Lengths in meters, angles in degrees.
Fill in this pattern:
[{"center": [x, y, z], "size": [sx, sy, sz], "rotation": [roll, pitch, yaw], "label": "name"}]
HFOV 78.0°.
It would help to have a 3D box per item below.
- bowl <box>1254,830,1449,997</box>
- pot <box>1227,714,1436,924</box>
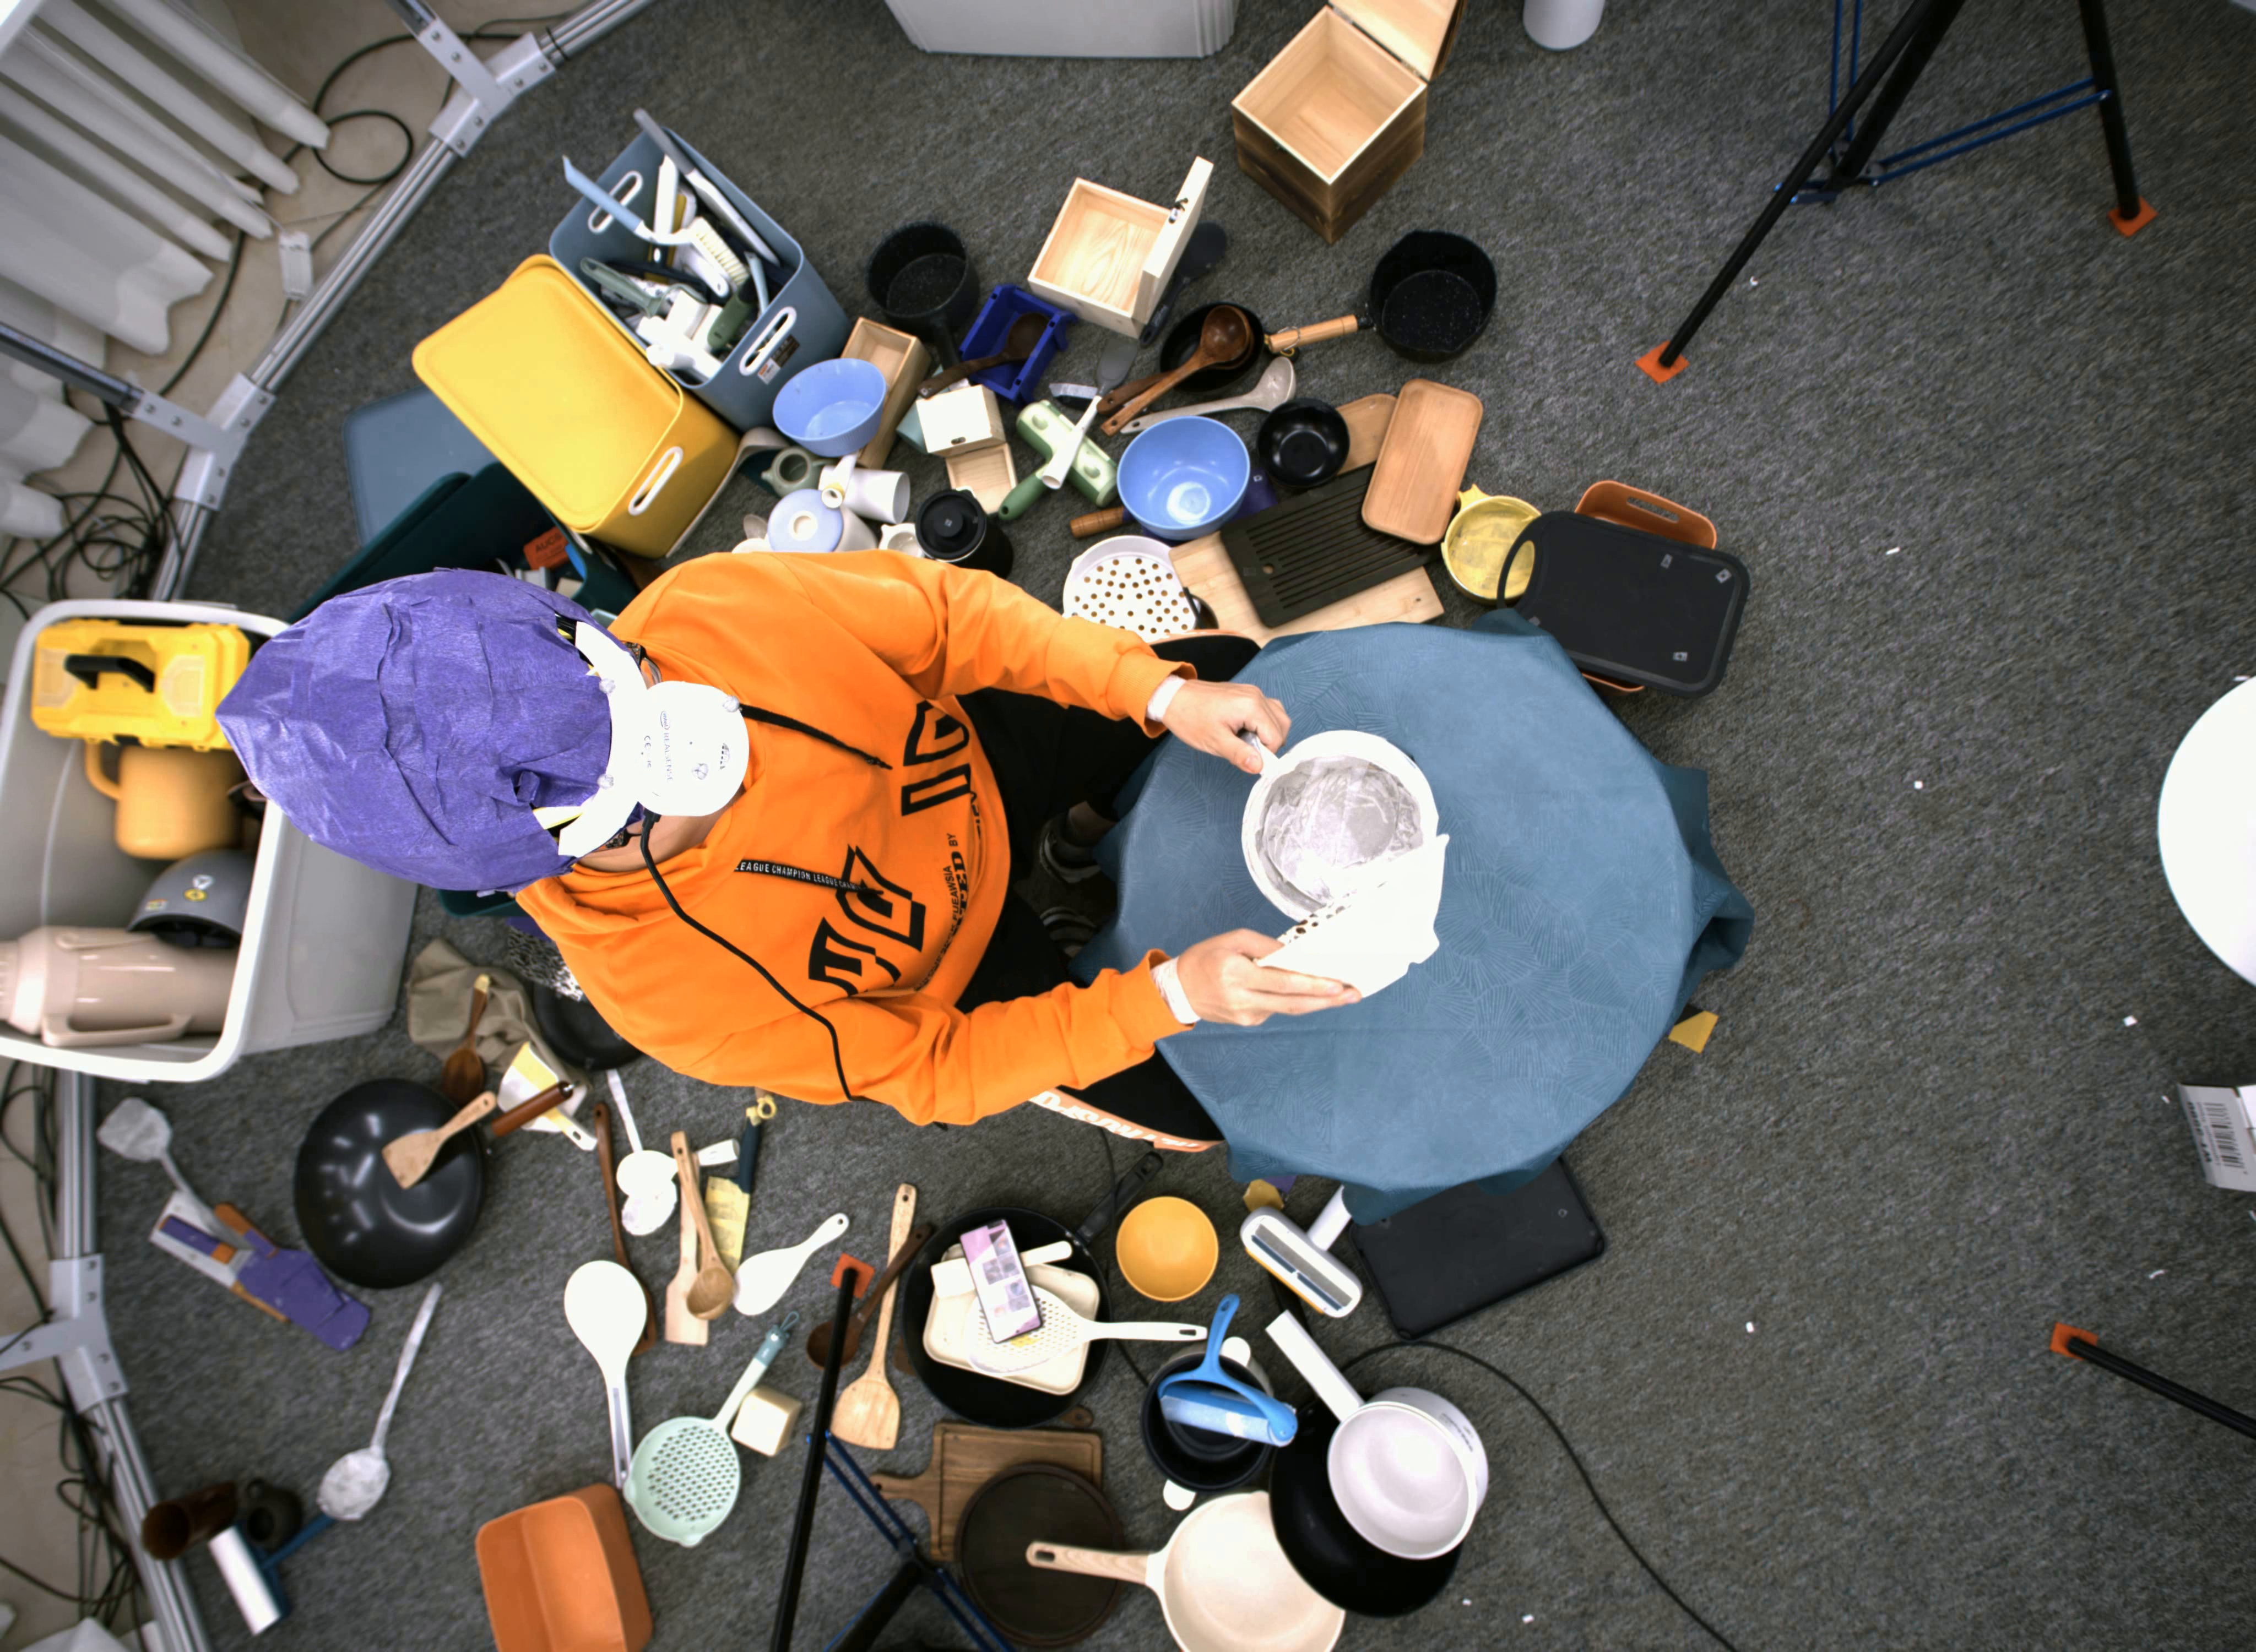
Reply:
[{"center": [0.213, 0.090, 1.196], "size": [0.205, 0.204, 0.077], "rotation": [-36, 85, 5], "label": "bowl"}, {"center": [0.186, -0.018, 1.331], "size": [0.233, 0.135, 0.181], "rotation": [41, 107, 3], "label": "pot"}]
